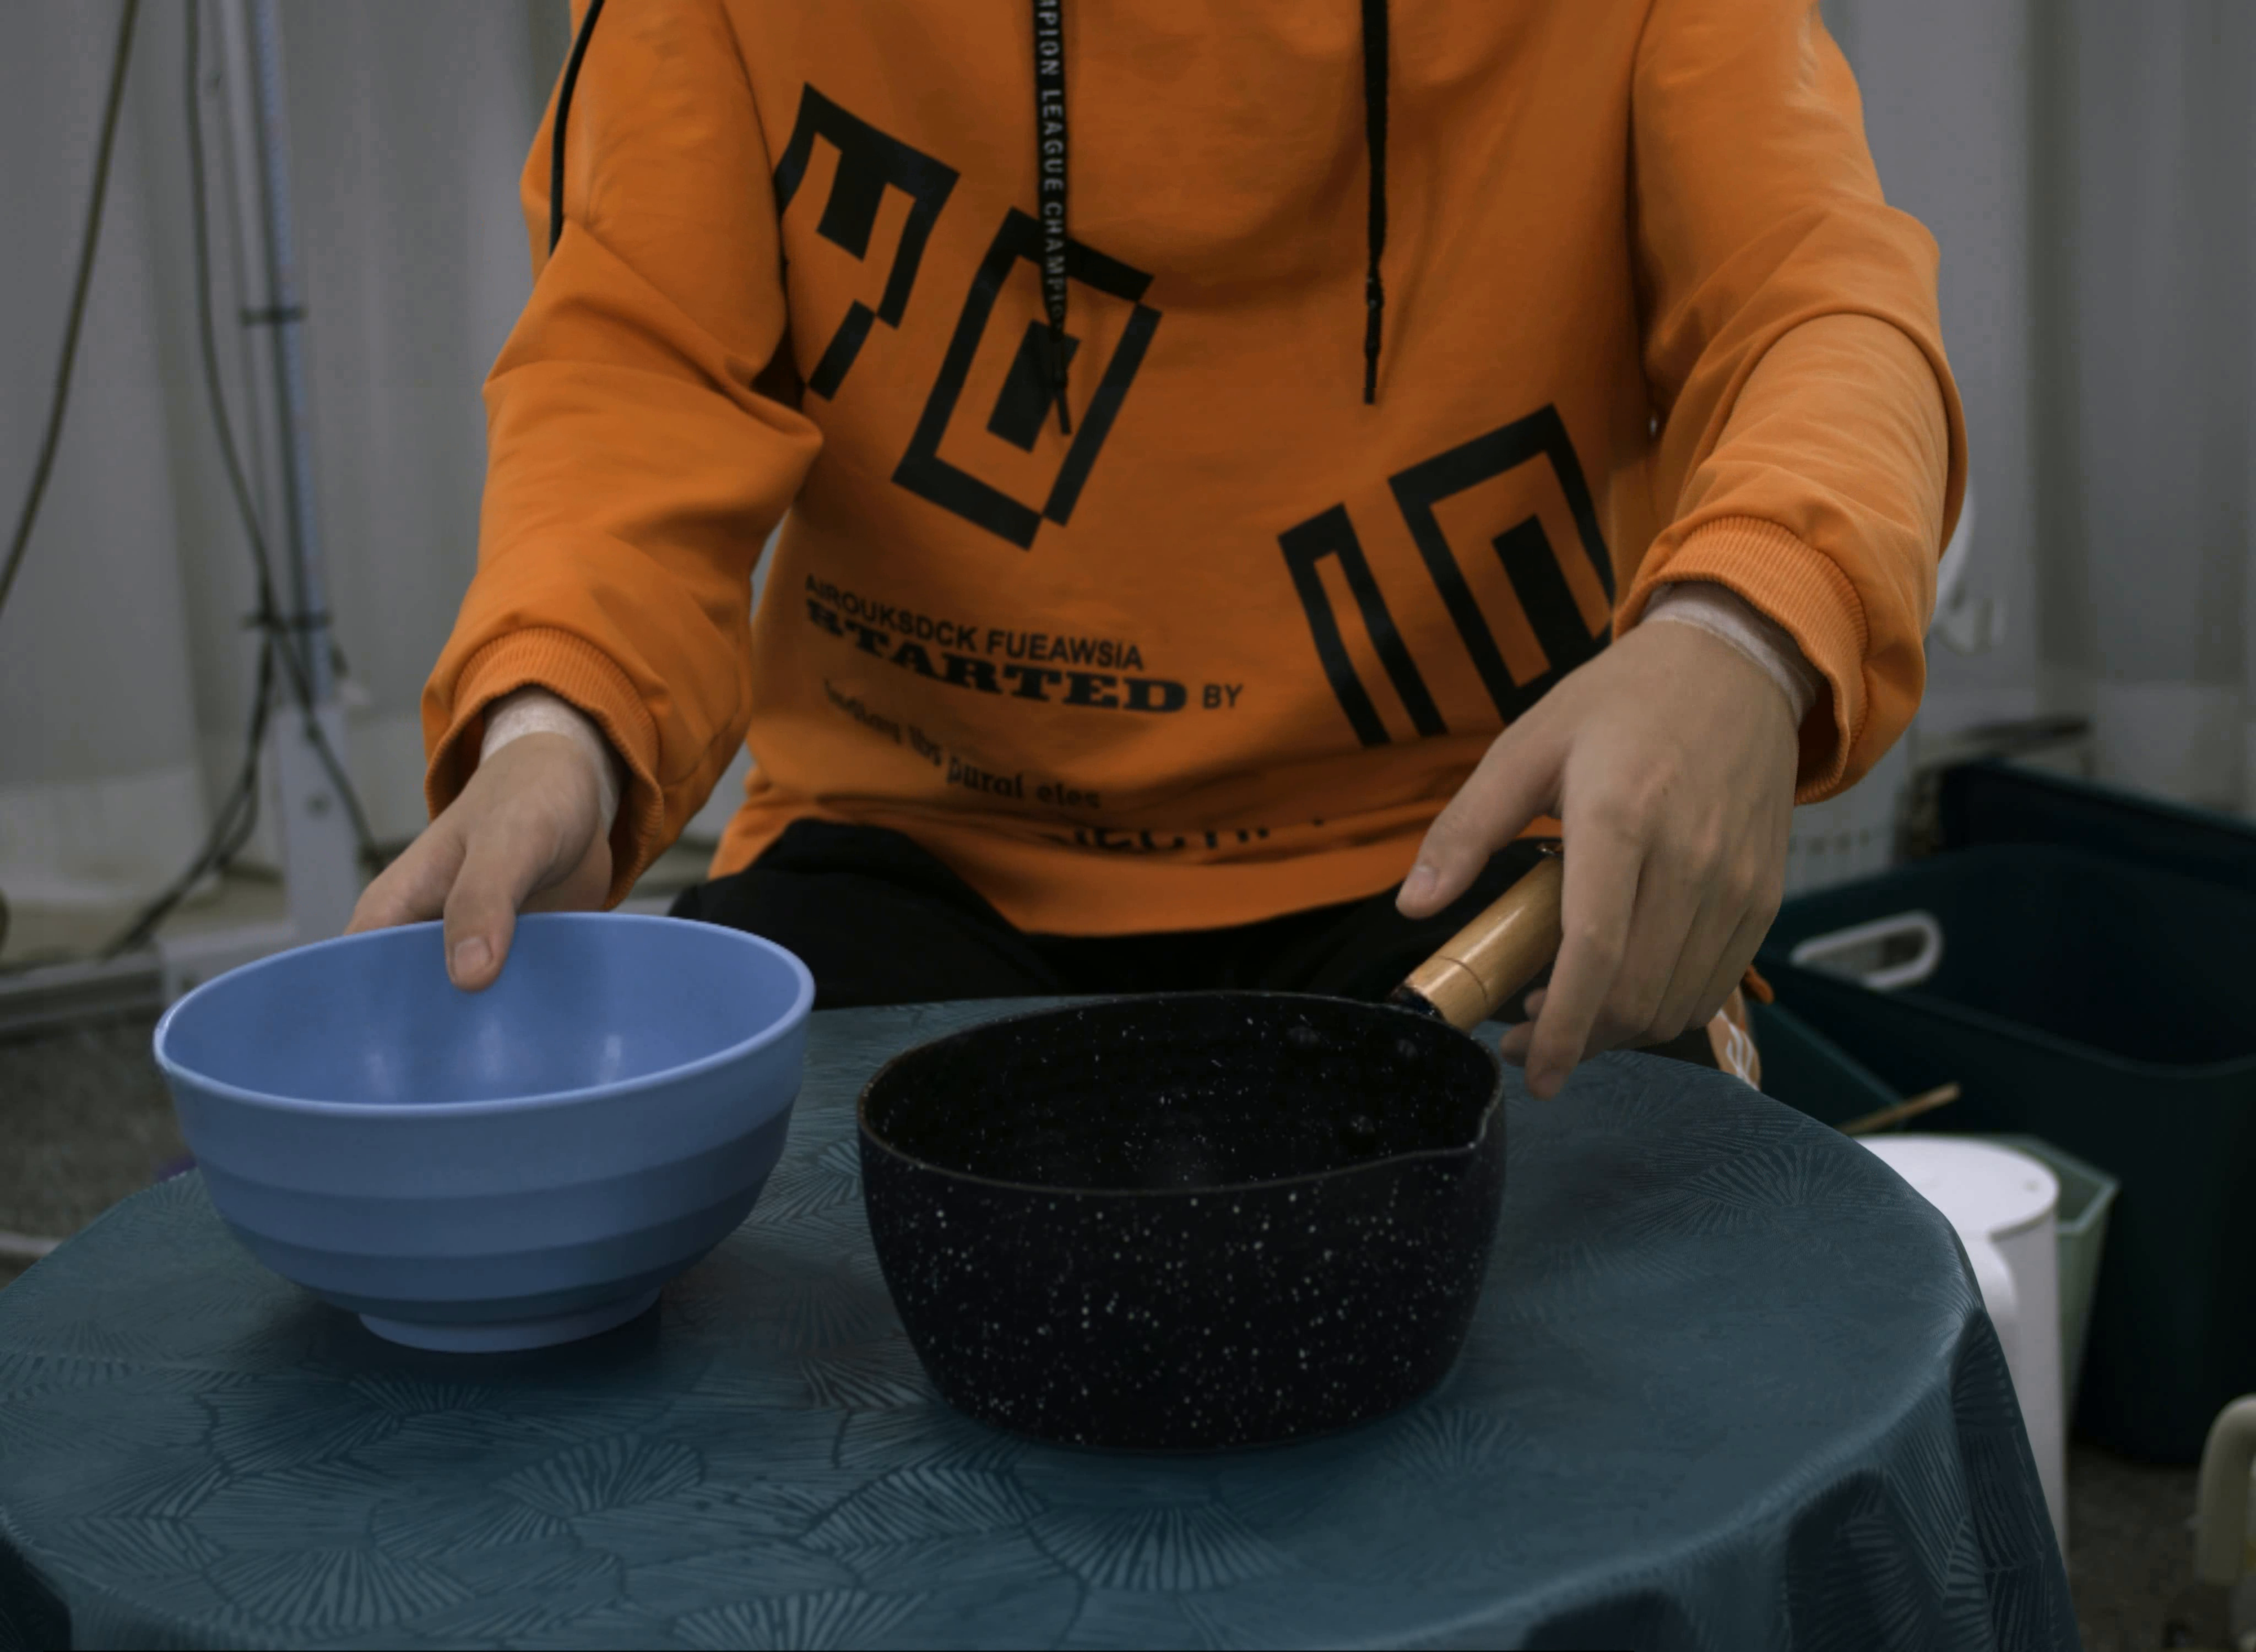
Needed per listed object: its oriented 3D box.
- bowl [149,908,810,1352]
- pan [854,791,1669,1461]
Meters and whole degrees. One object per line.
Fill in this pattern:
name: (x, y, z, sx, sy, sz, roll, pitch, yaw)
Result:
bowl: (-0.189, 0.097, 1.634, 0.196, 0.095, 0.198, -4, 15, 1)
pan: (0.062, 0.083, 1.613, 0.208, 0.108, 0.343, 6, 19, 35)
